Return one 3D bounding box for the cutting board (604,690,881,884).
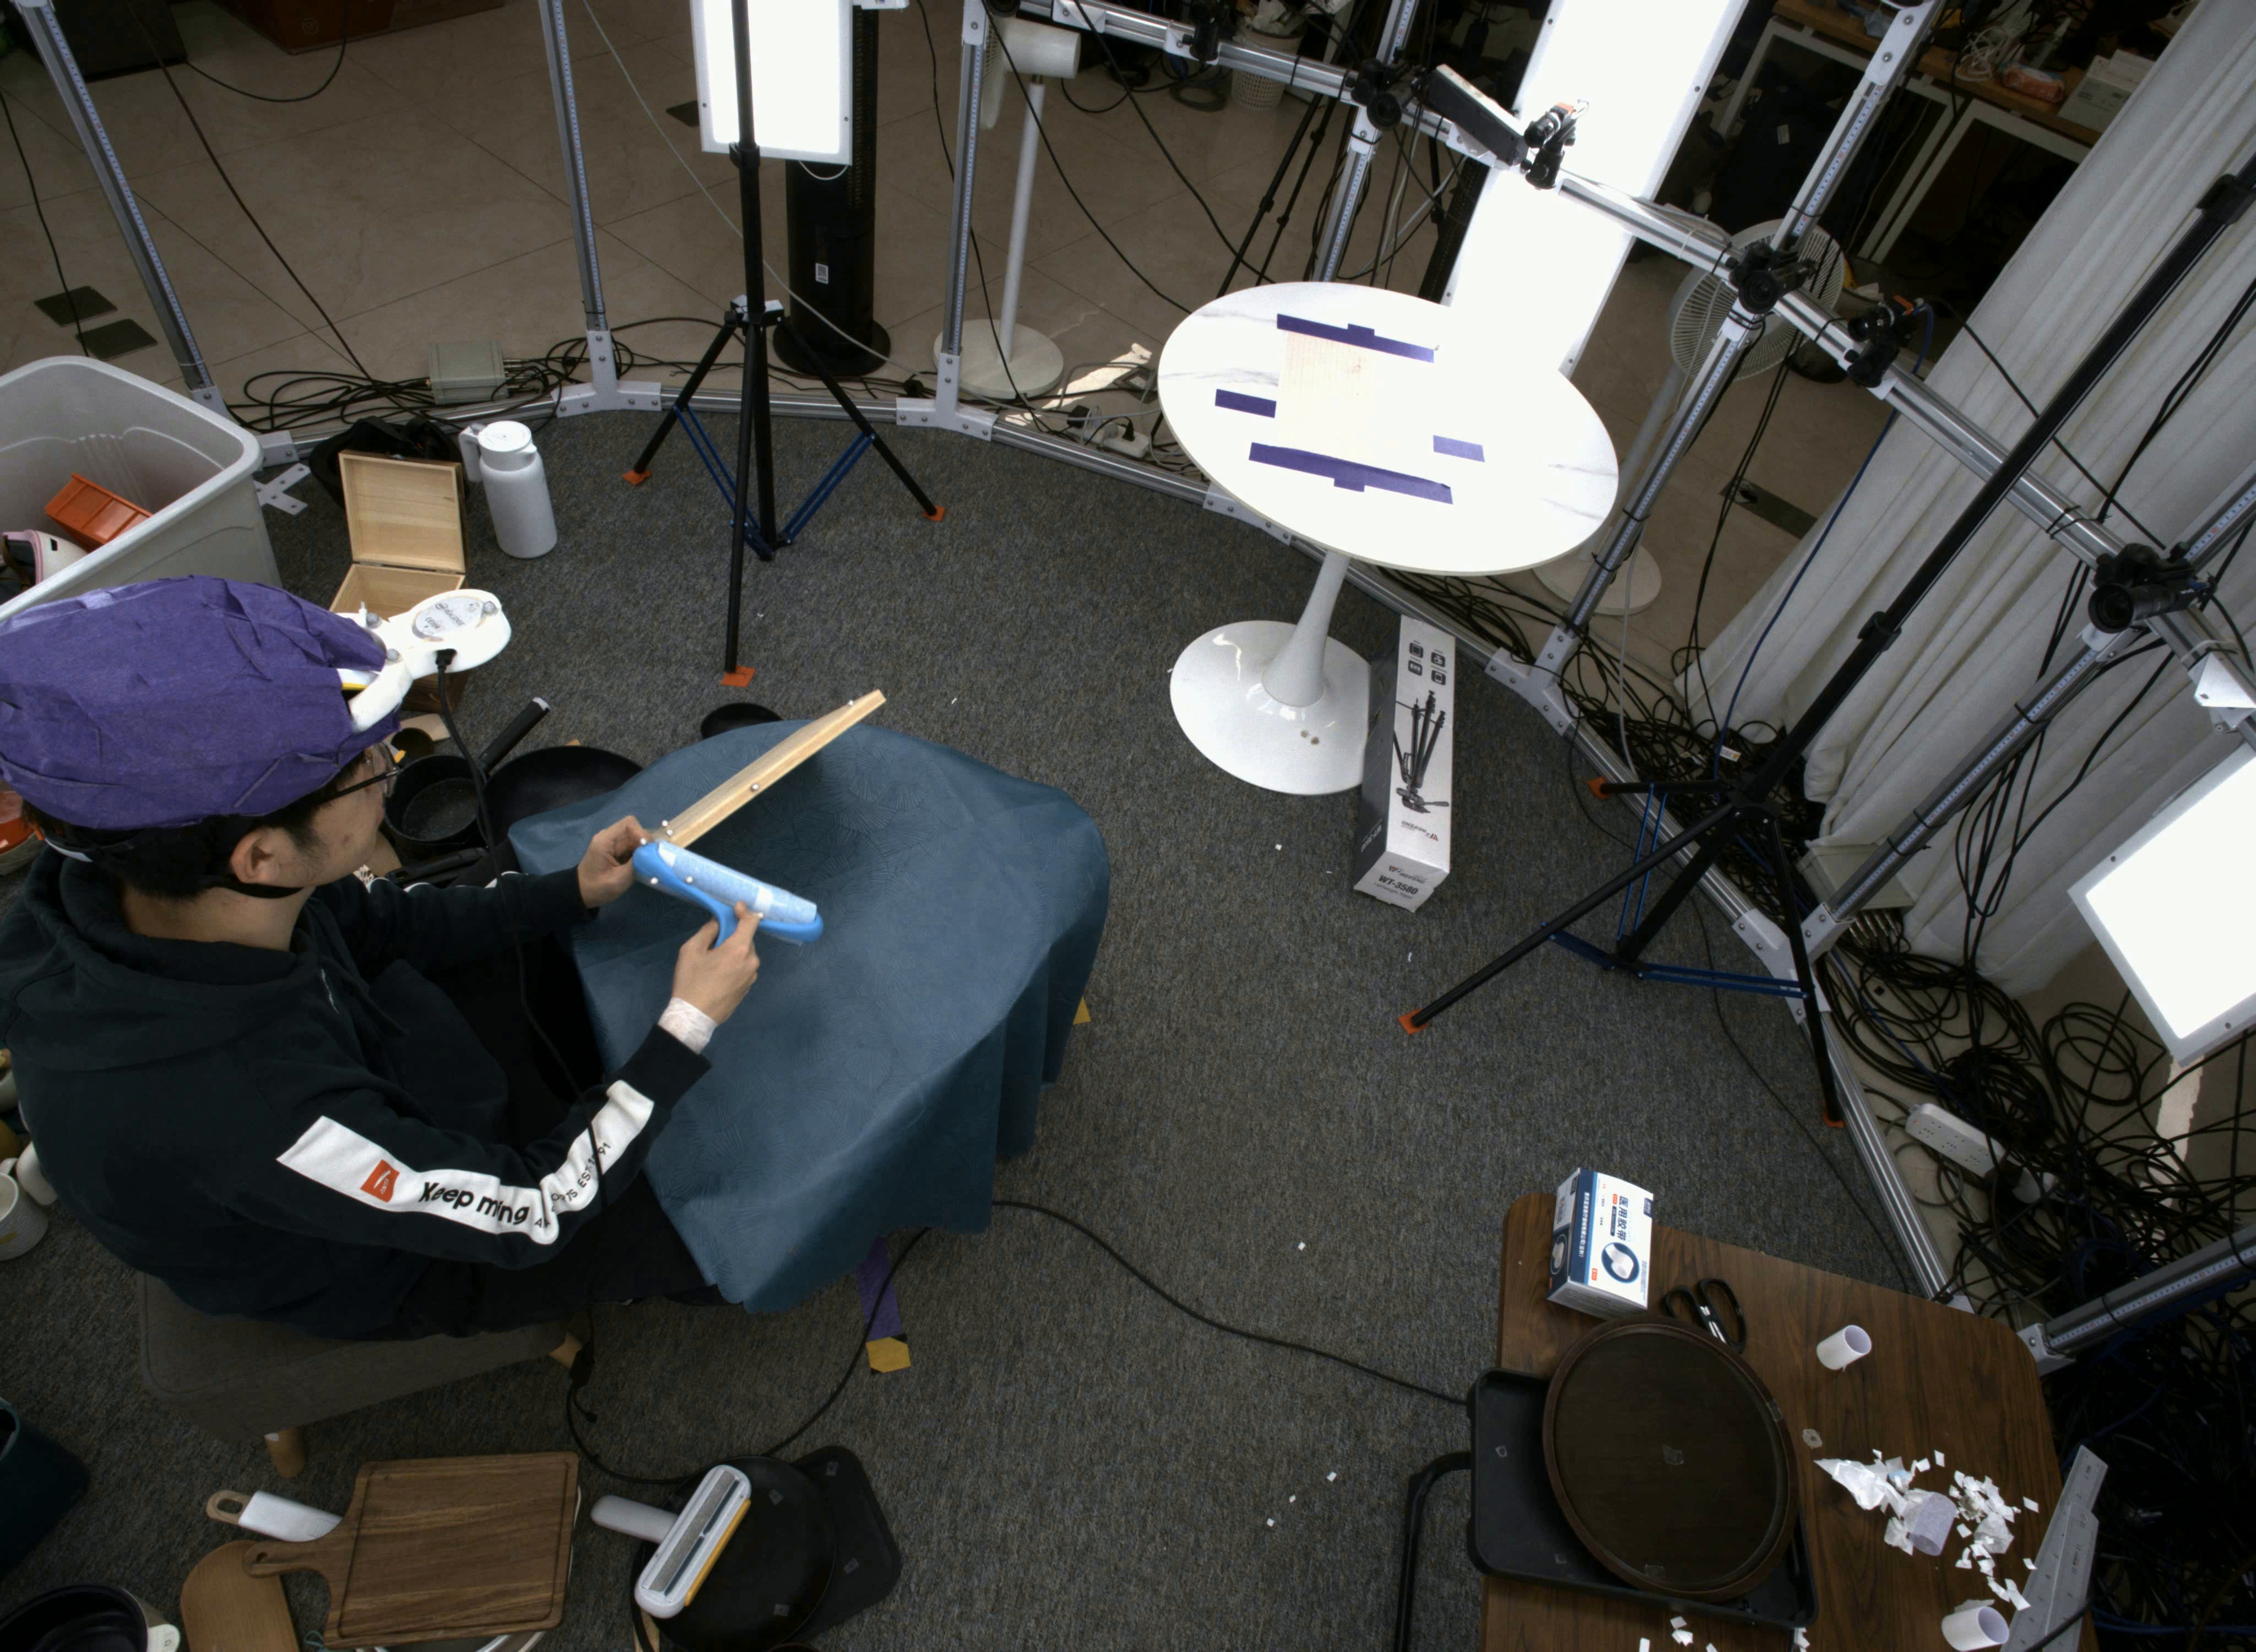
[{"bbox_3d":[-0.485,-0.050,1.622,0.348,0.244,0.024,-44,108,-36],"label":"cutting board"}]

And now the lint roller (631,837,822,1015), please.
[{"bbox_3d":[-0.447,0.116,1.420,0.235,0.067,0.176,27,38,-32],"label":"lint roller"}]
